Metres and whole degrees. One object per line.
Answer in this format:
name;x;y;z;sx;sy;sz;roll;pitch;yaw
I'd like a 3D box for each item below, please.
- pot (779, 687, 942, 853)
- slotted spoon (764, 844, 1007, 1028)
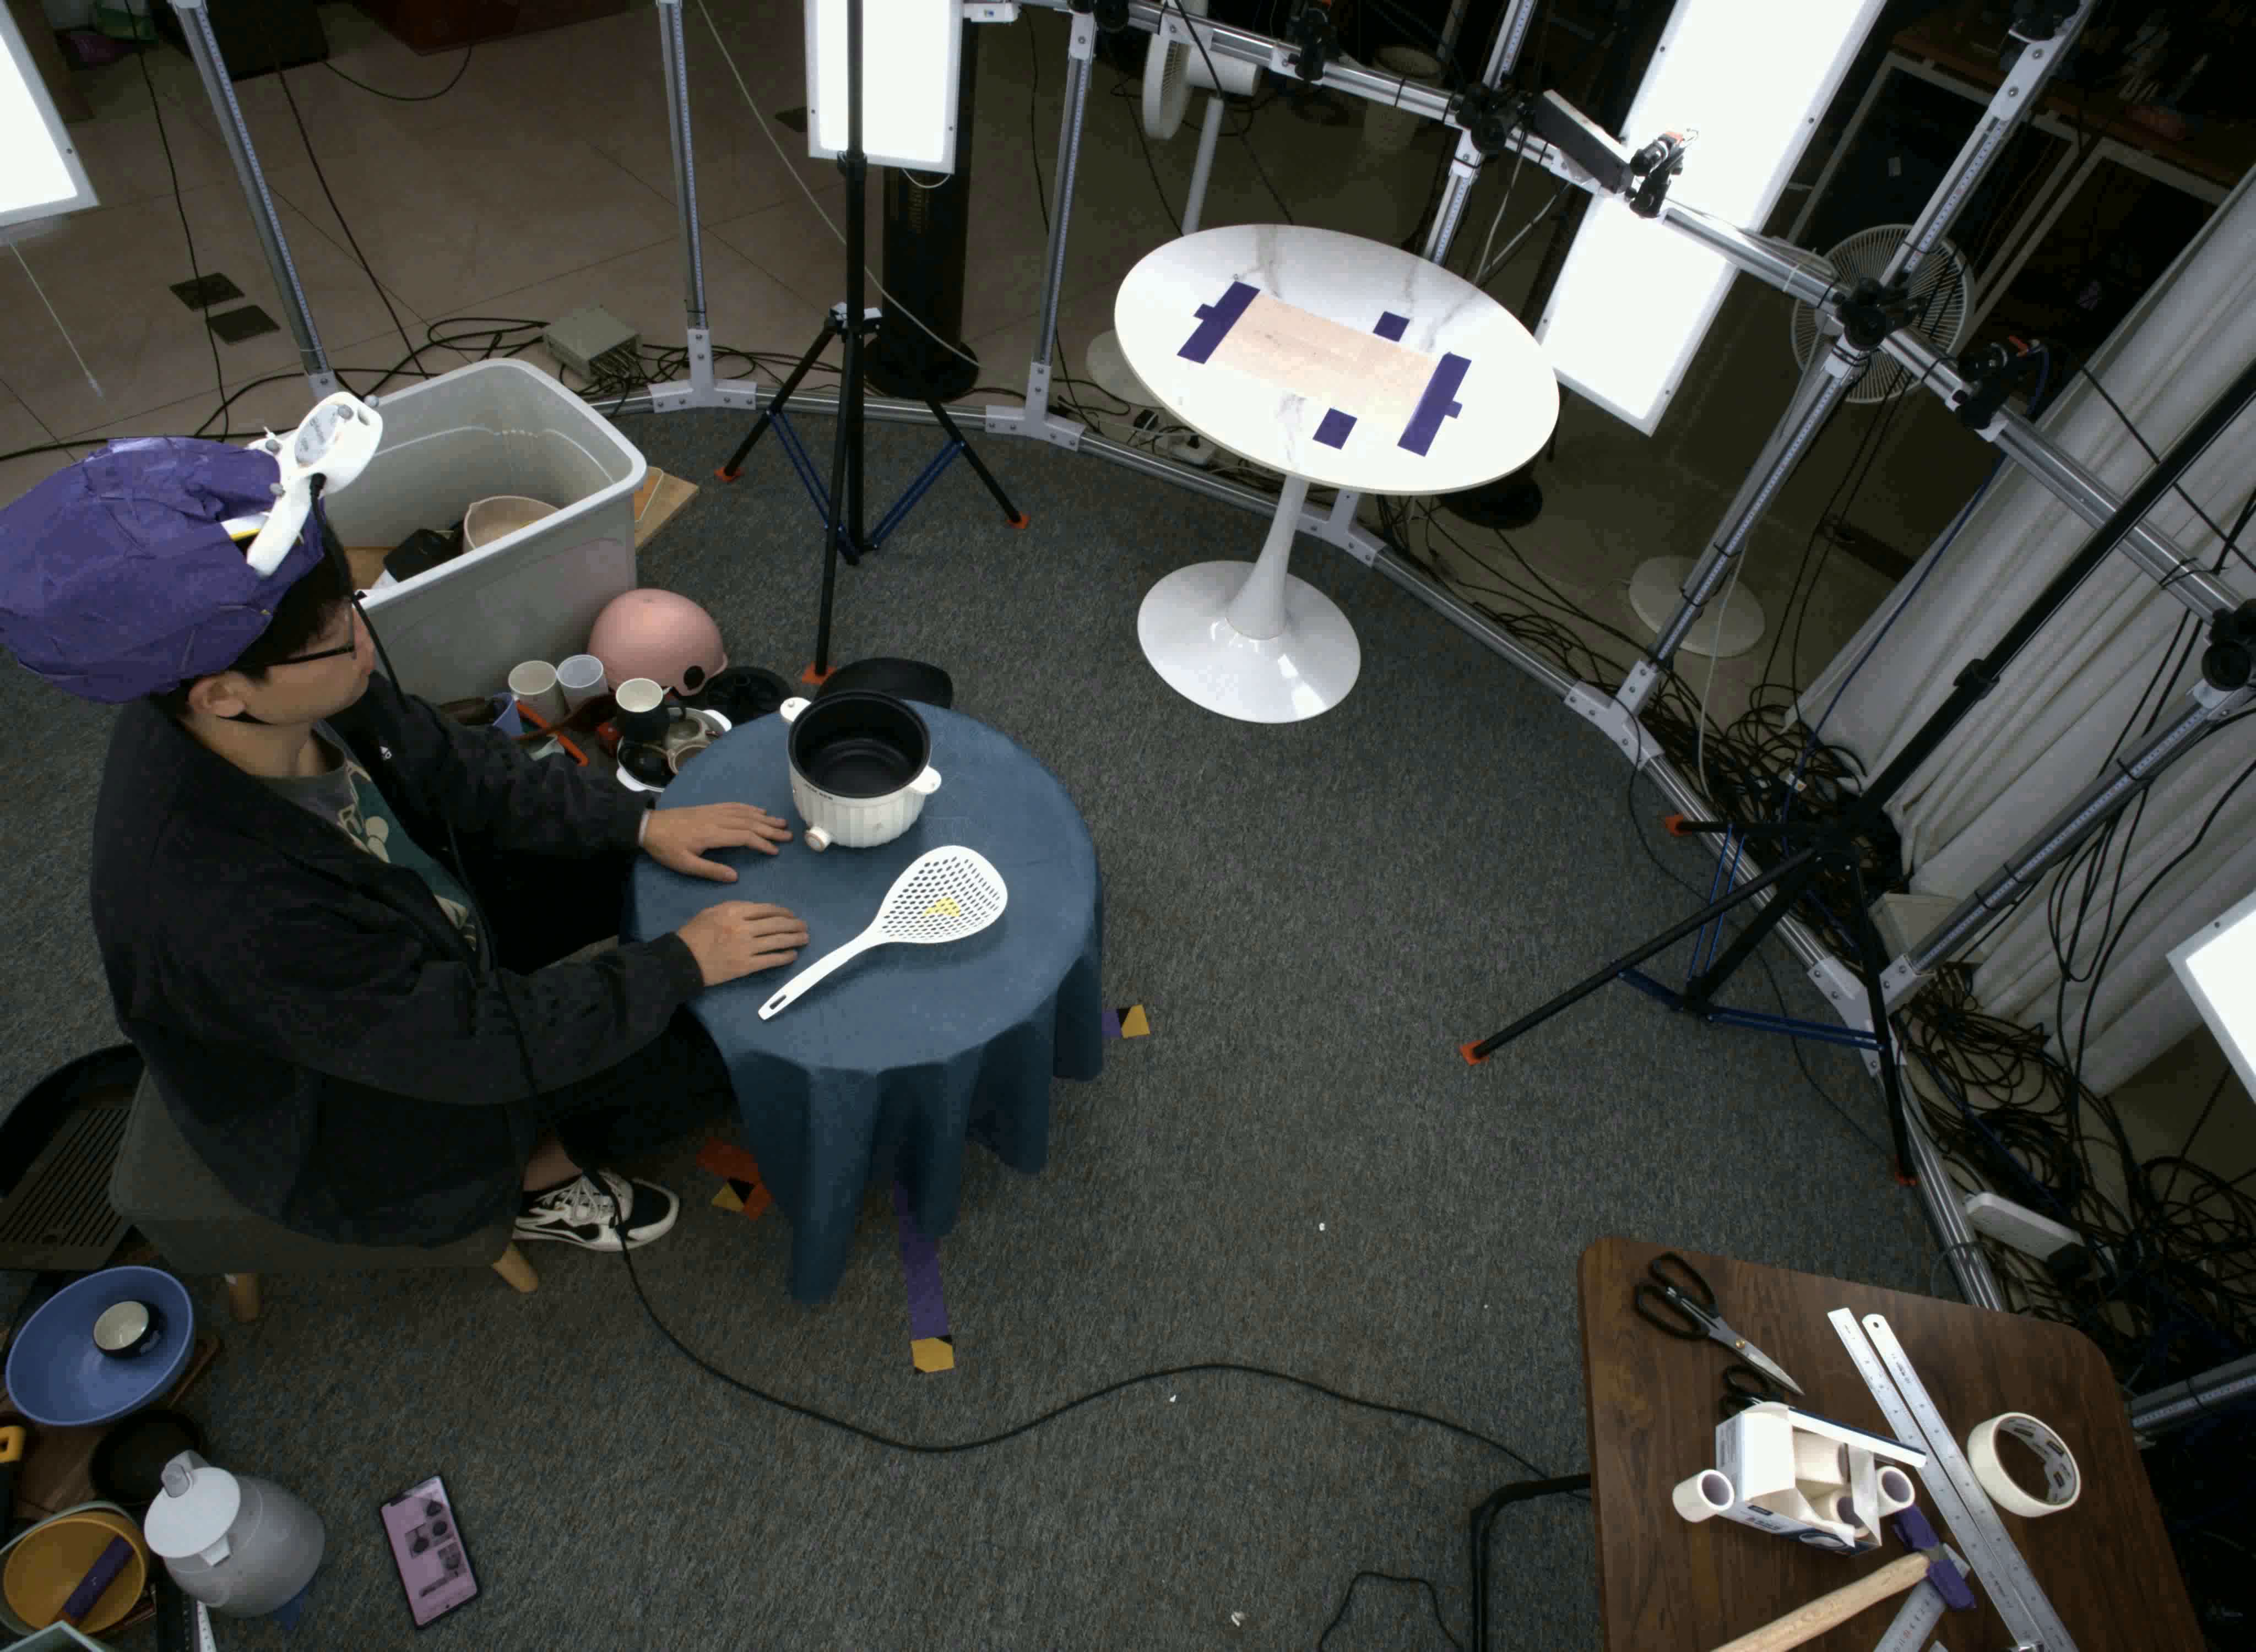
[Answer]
pot;-0.354;-0.064;1.701;0.236;0.146;0.189;27;49;9
slotted spoon;-0.307;0.140;1.623;0.349;0.051;0.134;-31;67;-31
